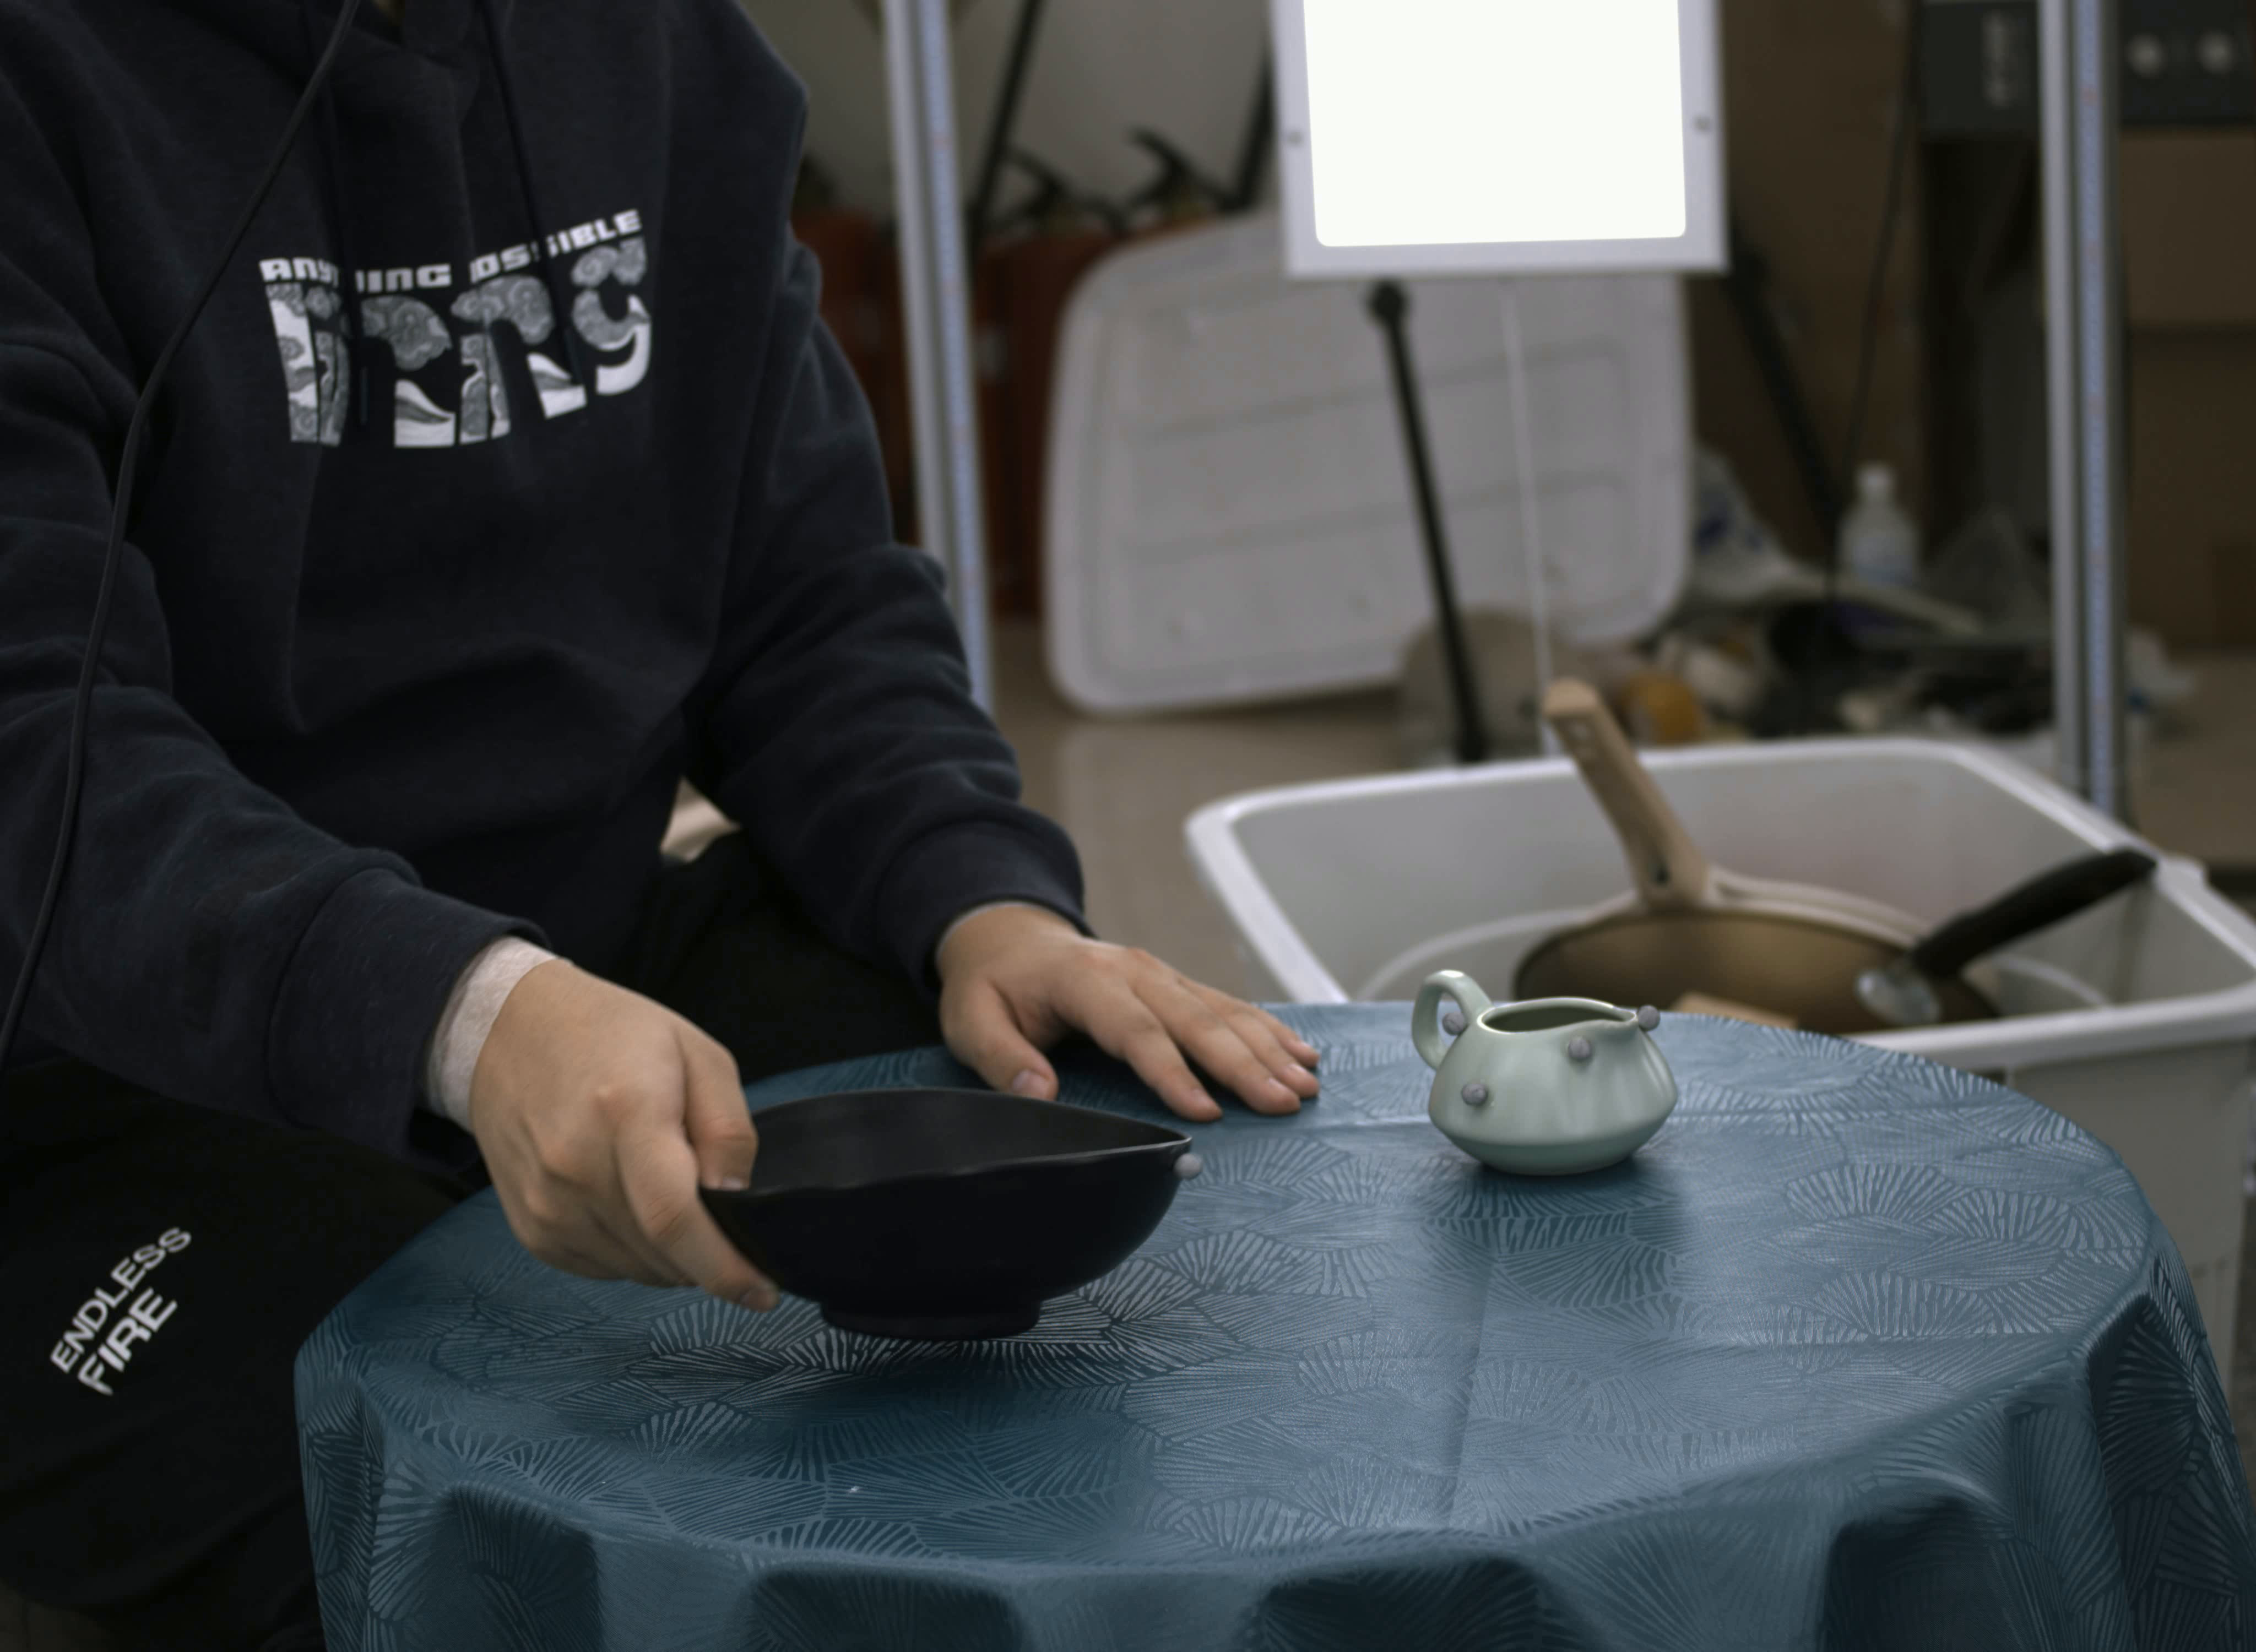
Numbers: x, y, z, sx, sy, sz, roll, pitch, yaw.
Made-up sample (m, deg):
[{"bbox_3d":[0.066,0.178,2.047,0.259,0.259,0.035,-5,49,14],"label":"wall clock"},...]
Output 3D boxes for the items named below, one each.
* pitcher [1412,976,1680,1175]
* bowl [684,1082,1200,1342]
[{"bbox_3d":[0.139,0.086,1.900,0.084,0.060,0.110,-15,15,-40],"label":"pitcher"},{"bbox_3d":[-0.057,0.124,1.740,0.166,0.067,0.140,-3,8,-31],"label":"bowl"}]
